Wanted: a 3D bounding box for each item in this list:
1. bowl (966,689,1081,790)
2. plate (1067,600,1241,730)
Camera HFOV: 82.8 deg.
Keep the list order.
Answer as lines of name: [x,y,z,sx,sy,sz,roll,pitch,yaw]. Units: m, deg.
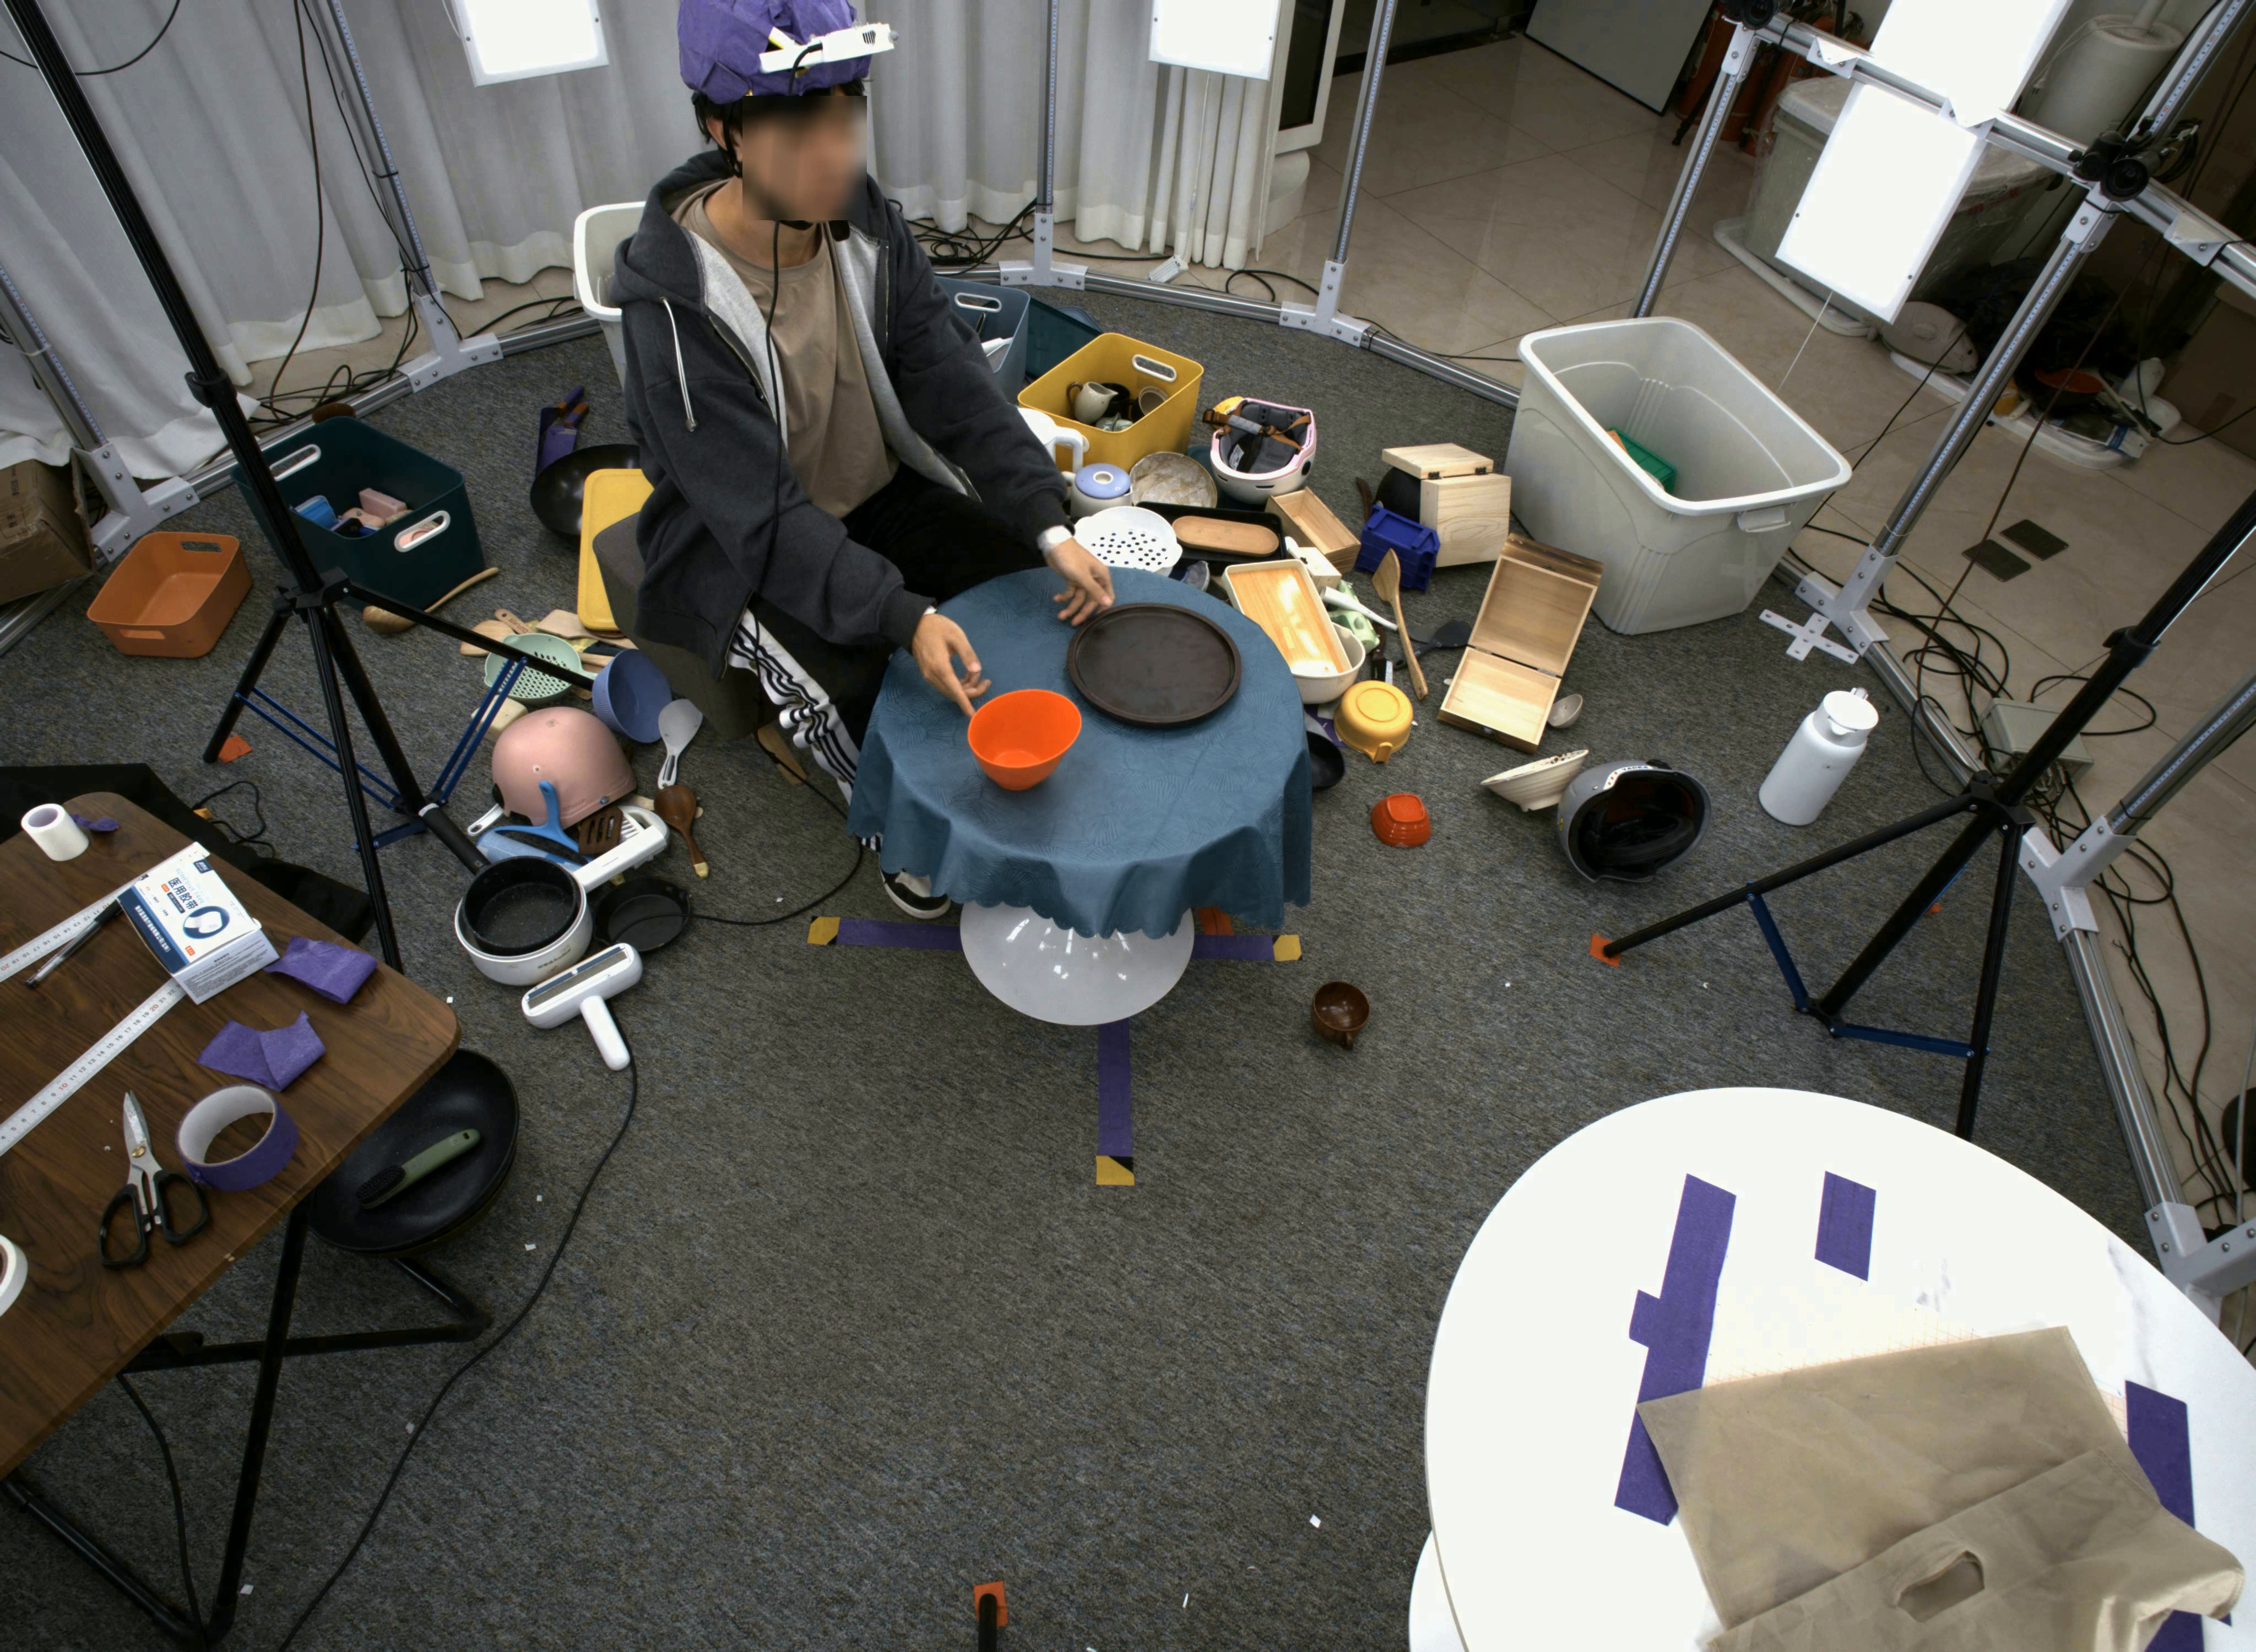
bowl: [-0.137,-0.101,1.678,0.148,0.102,0.151,2,51,-2]
plate: [0.037,-0.233,1.856,0.254,0.028,0.261,1,50,-2]
